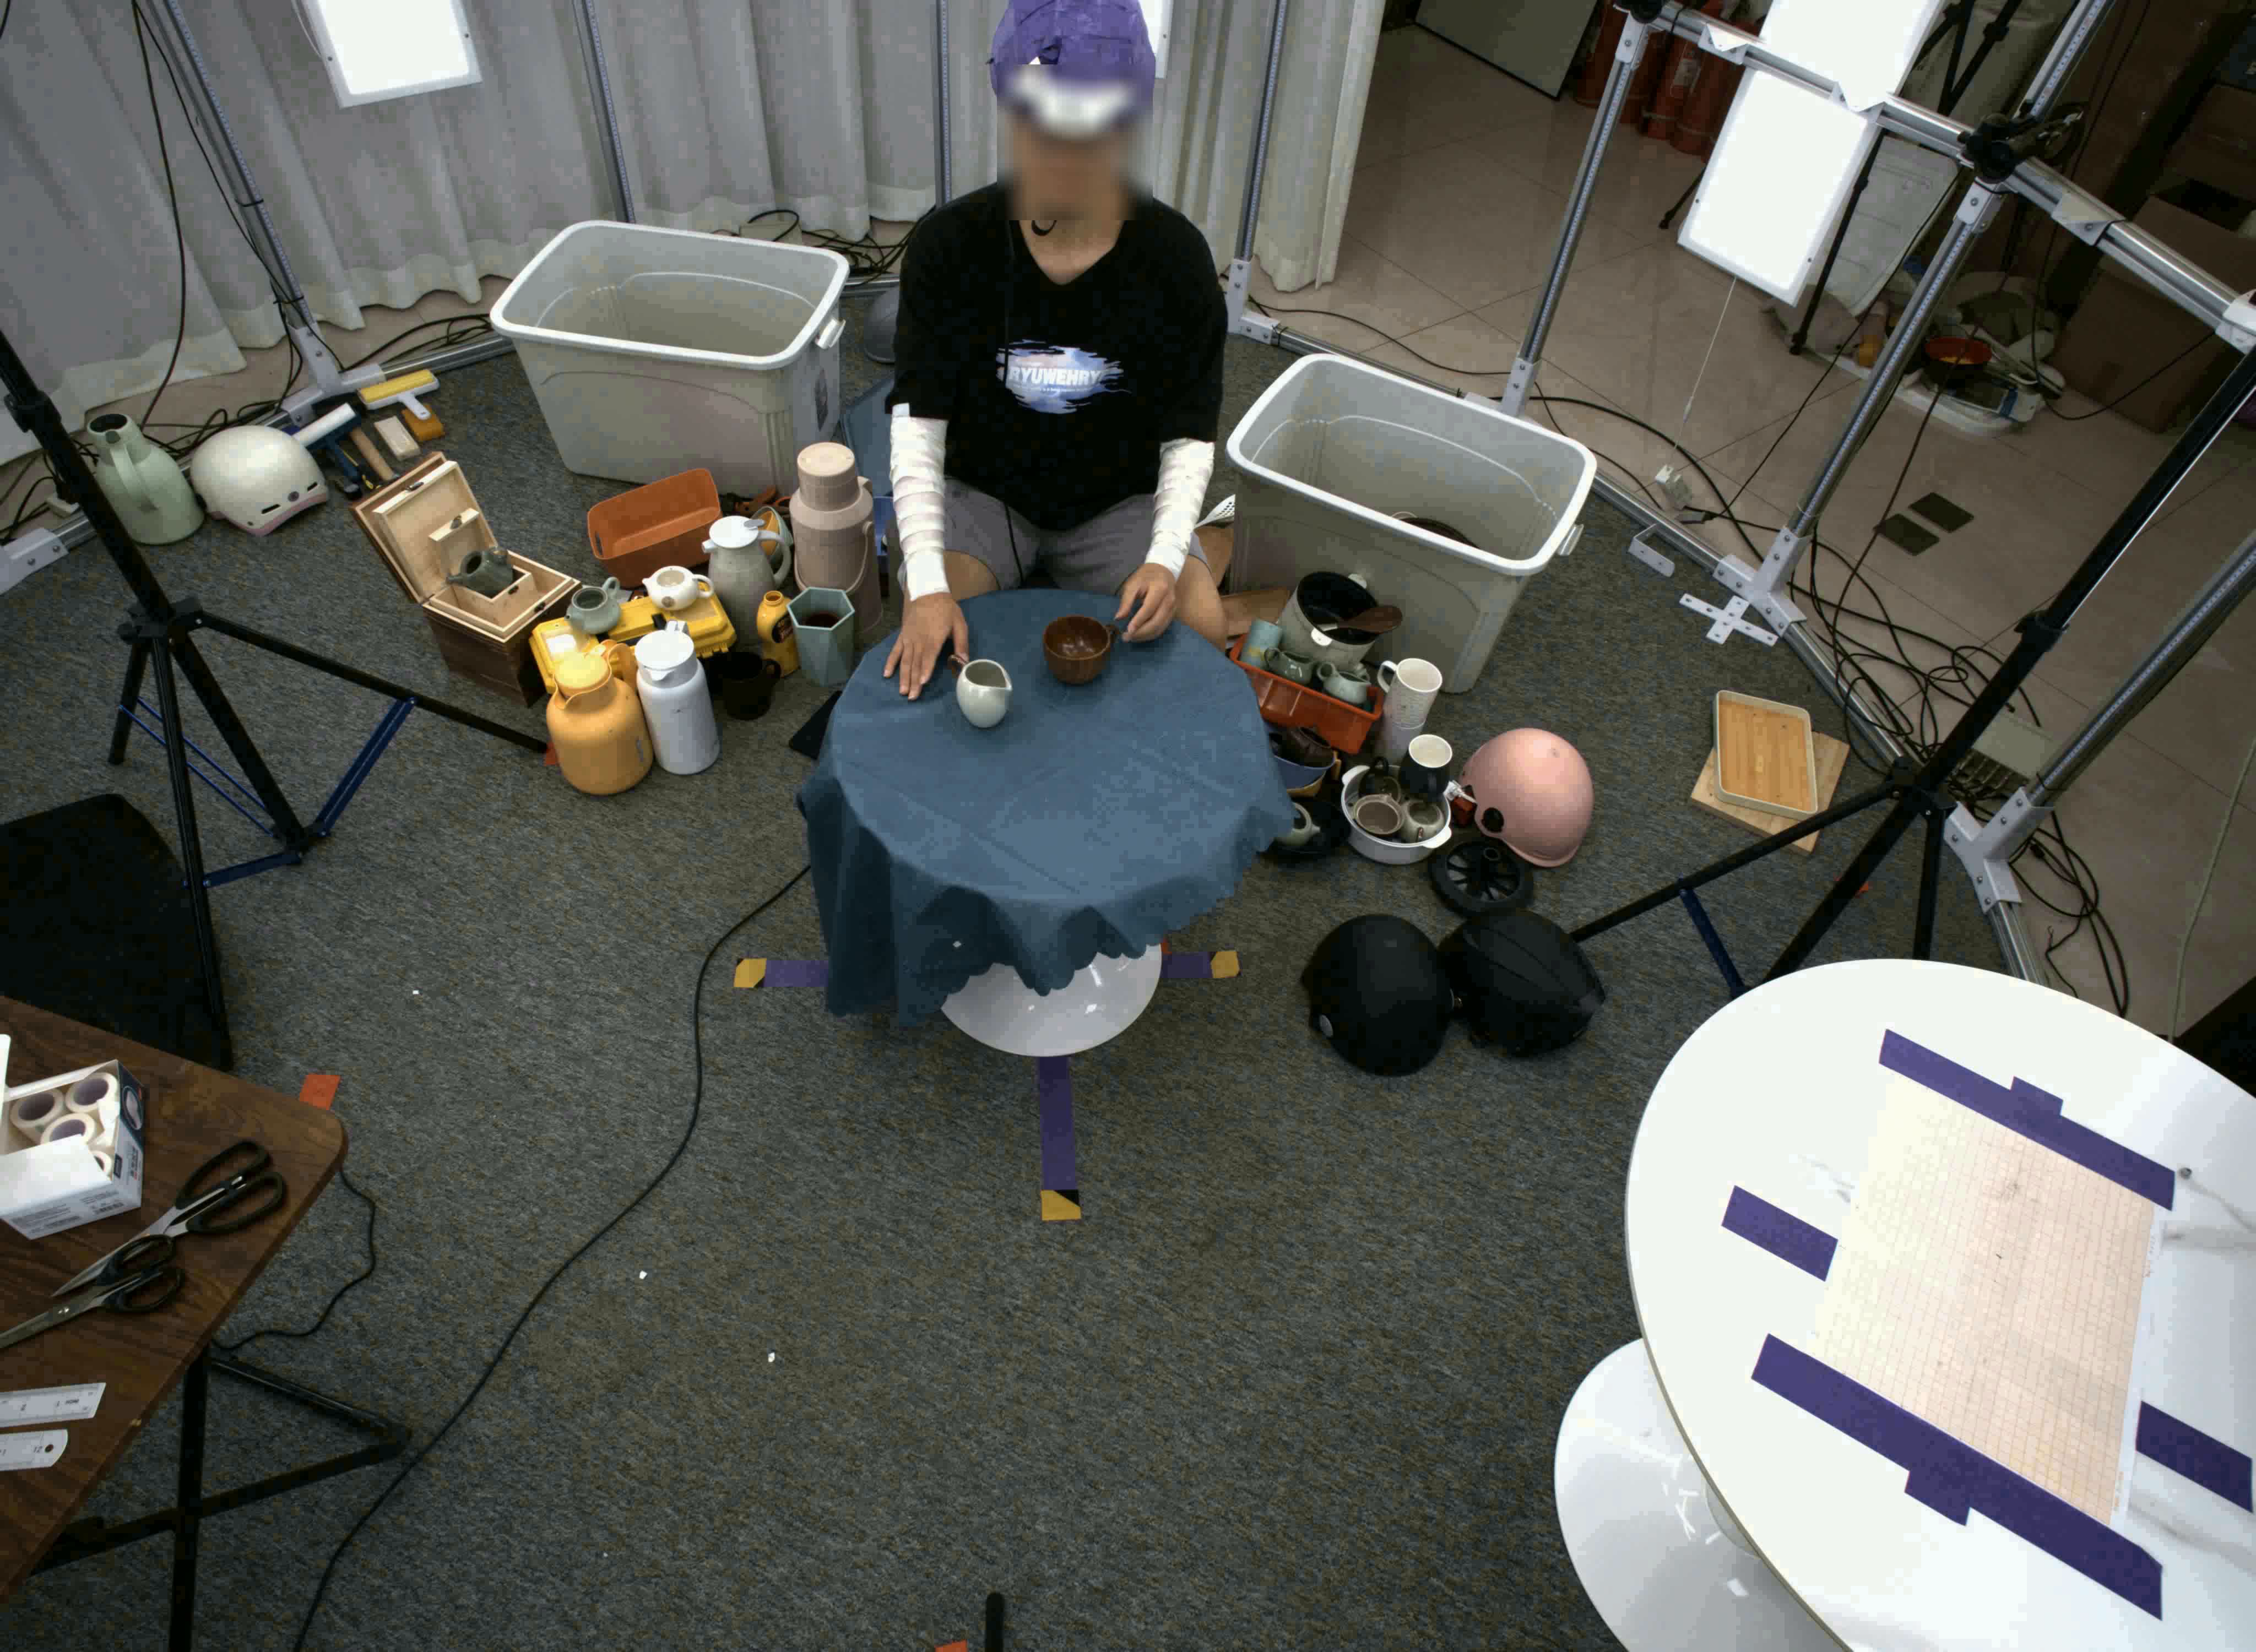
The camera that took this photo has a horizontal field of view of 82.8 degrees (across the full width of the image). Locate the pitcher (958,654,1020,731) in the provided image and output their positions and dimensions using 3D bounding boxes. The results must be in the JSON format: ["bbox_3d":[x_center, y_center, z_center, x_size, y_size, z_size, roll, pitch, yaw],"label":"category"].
[{"bbox_3d":[-0.194,-0.181,1.760,0.076,0.086,0.121,-32,62,-33],"label":"pitcher"}]

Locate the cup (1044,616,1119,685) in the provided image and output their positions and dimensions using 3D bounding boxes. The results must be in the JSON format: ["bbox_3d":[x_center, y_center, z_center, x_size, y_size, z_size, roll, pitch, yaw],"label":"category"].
[{"bbox_3d":[-0.062,-0.252,1.844,0.120,0.066,0.098,-25,52,-25],"label":"cup"}]
